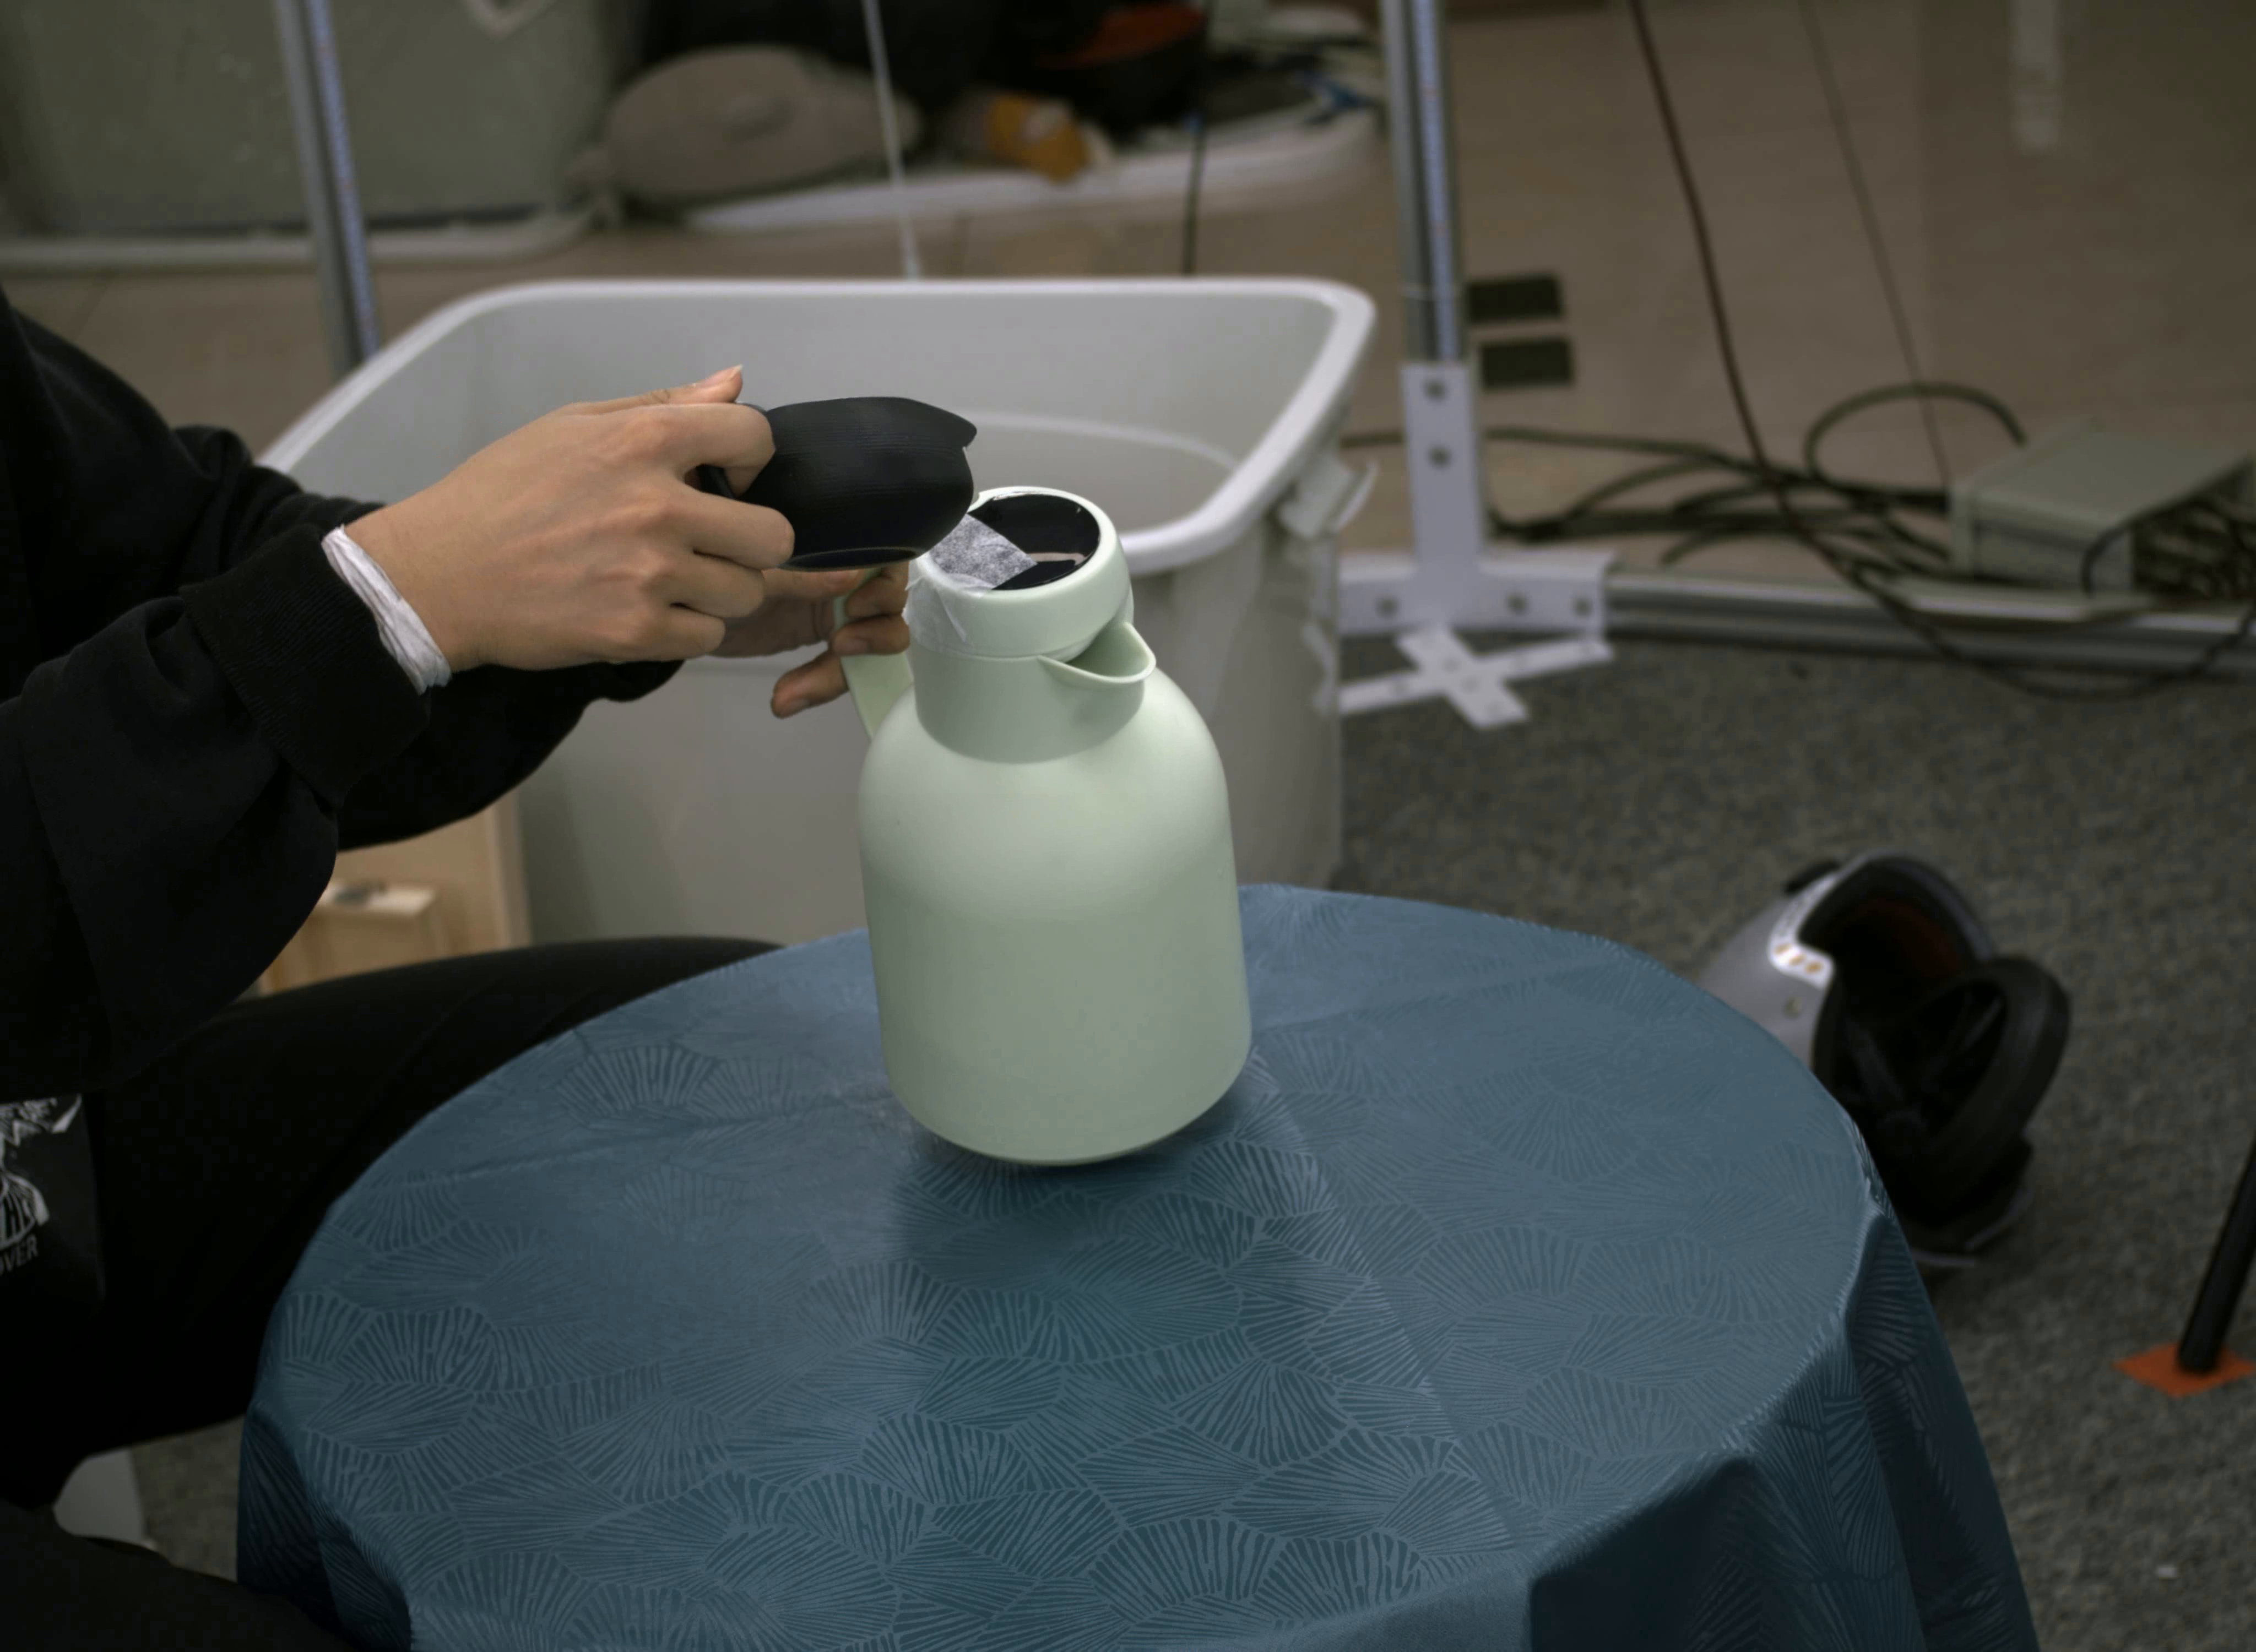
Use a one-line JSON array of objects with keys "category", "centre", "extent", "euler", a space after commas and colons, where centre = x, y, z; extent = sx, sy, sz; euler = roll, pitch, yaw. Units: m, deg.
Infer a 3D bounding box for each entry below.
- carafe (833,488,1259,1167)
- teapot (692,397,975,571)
[{"category": "carafe", "centre": [-0.040, -0.011, 2.151], "extent": [0.143, 0.261, 0.184], "euler": [-30, 41, -26]}, {"category": "teapot", "centre": [-0.100, -0.119, 1.966], "extent": [0.091, 0.053, 0.133], "euler": [-10, -8, 43]}]
